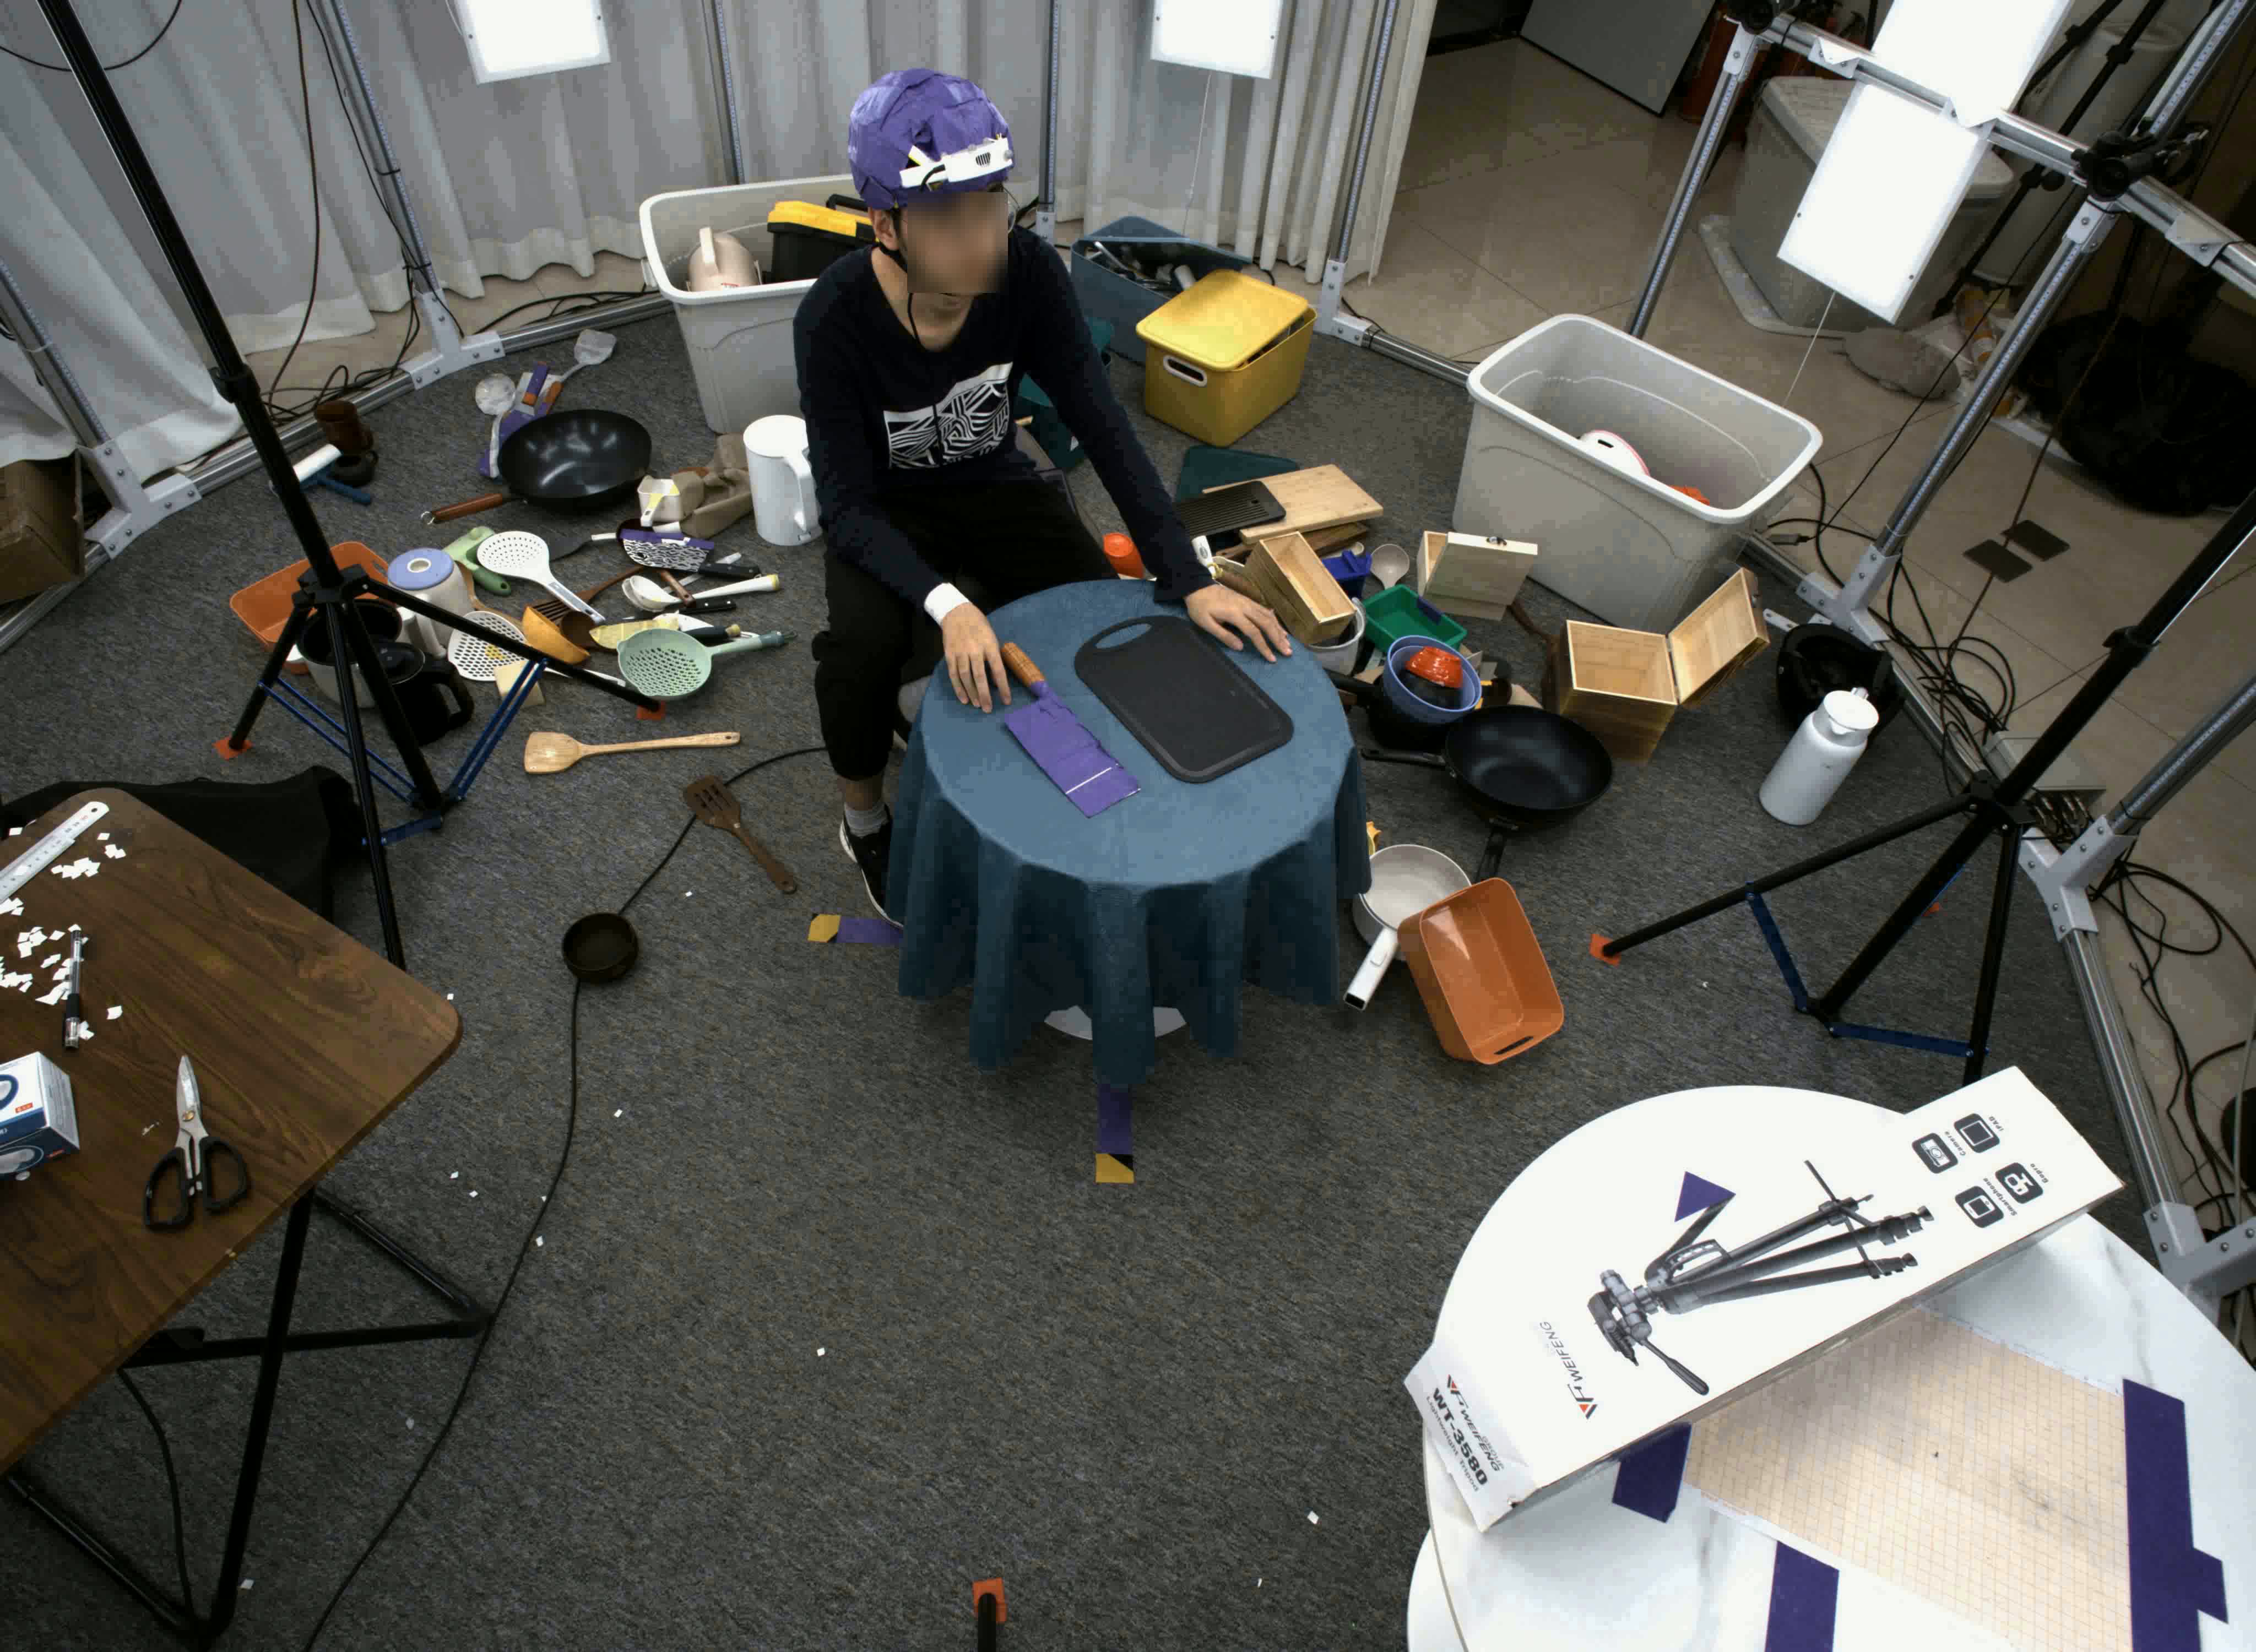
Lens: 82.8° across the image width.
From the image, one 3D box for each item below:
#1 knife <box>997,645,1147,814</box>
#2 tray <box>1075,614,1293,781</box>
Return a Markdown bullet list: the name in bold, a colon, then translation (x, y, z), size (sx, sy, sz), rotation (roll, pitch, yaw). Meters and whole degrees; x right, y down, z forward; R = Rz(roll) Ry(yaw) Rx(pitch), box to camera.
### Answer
- **knife**: translation (-0.106, -0.137, 1.761), size (0.104, 0.031, 0.321), rotation (-28, 57, -25)
- **tray**: translation (0.072, -0.196, 1.837), size (0.212, 0.009, 0.332), rotation (-25, 55, -24)
